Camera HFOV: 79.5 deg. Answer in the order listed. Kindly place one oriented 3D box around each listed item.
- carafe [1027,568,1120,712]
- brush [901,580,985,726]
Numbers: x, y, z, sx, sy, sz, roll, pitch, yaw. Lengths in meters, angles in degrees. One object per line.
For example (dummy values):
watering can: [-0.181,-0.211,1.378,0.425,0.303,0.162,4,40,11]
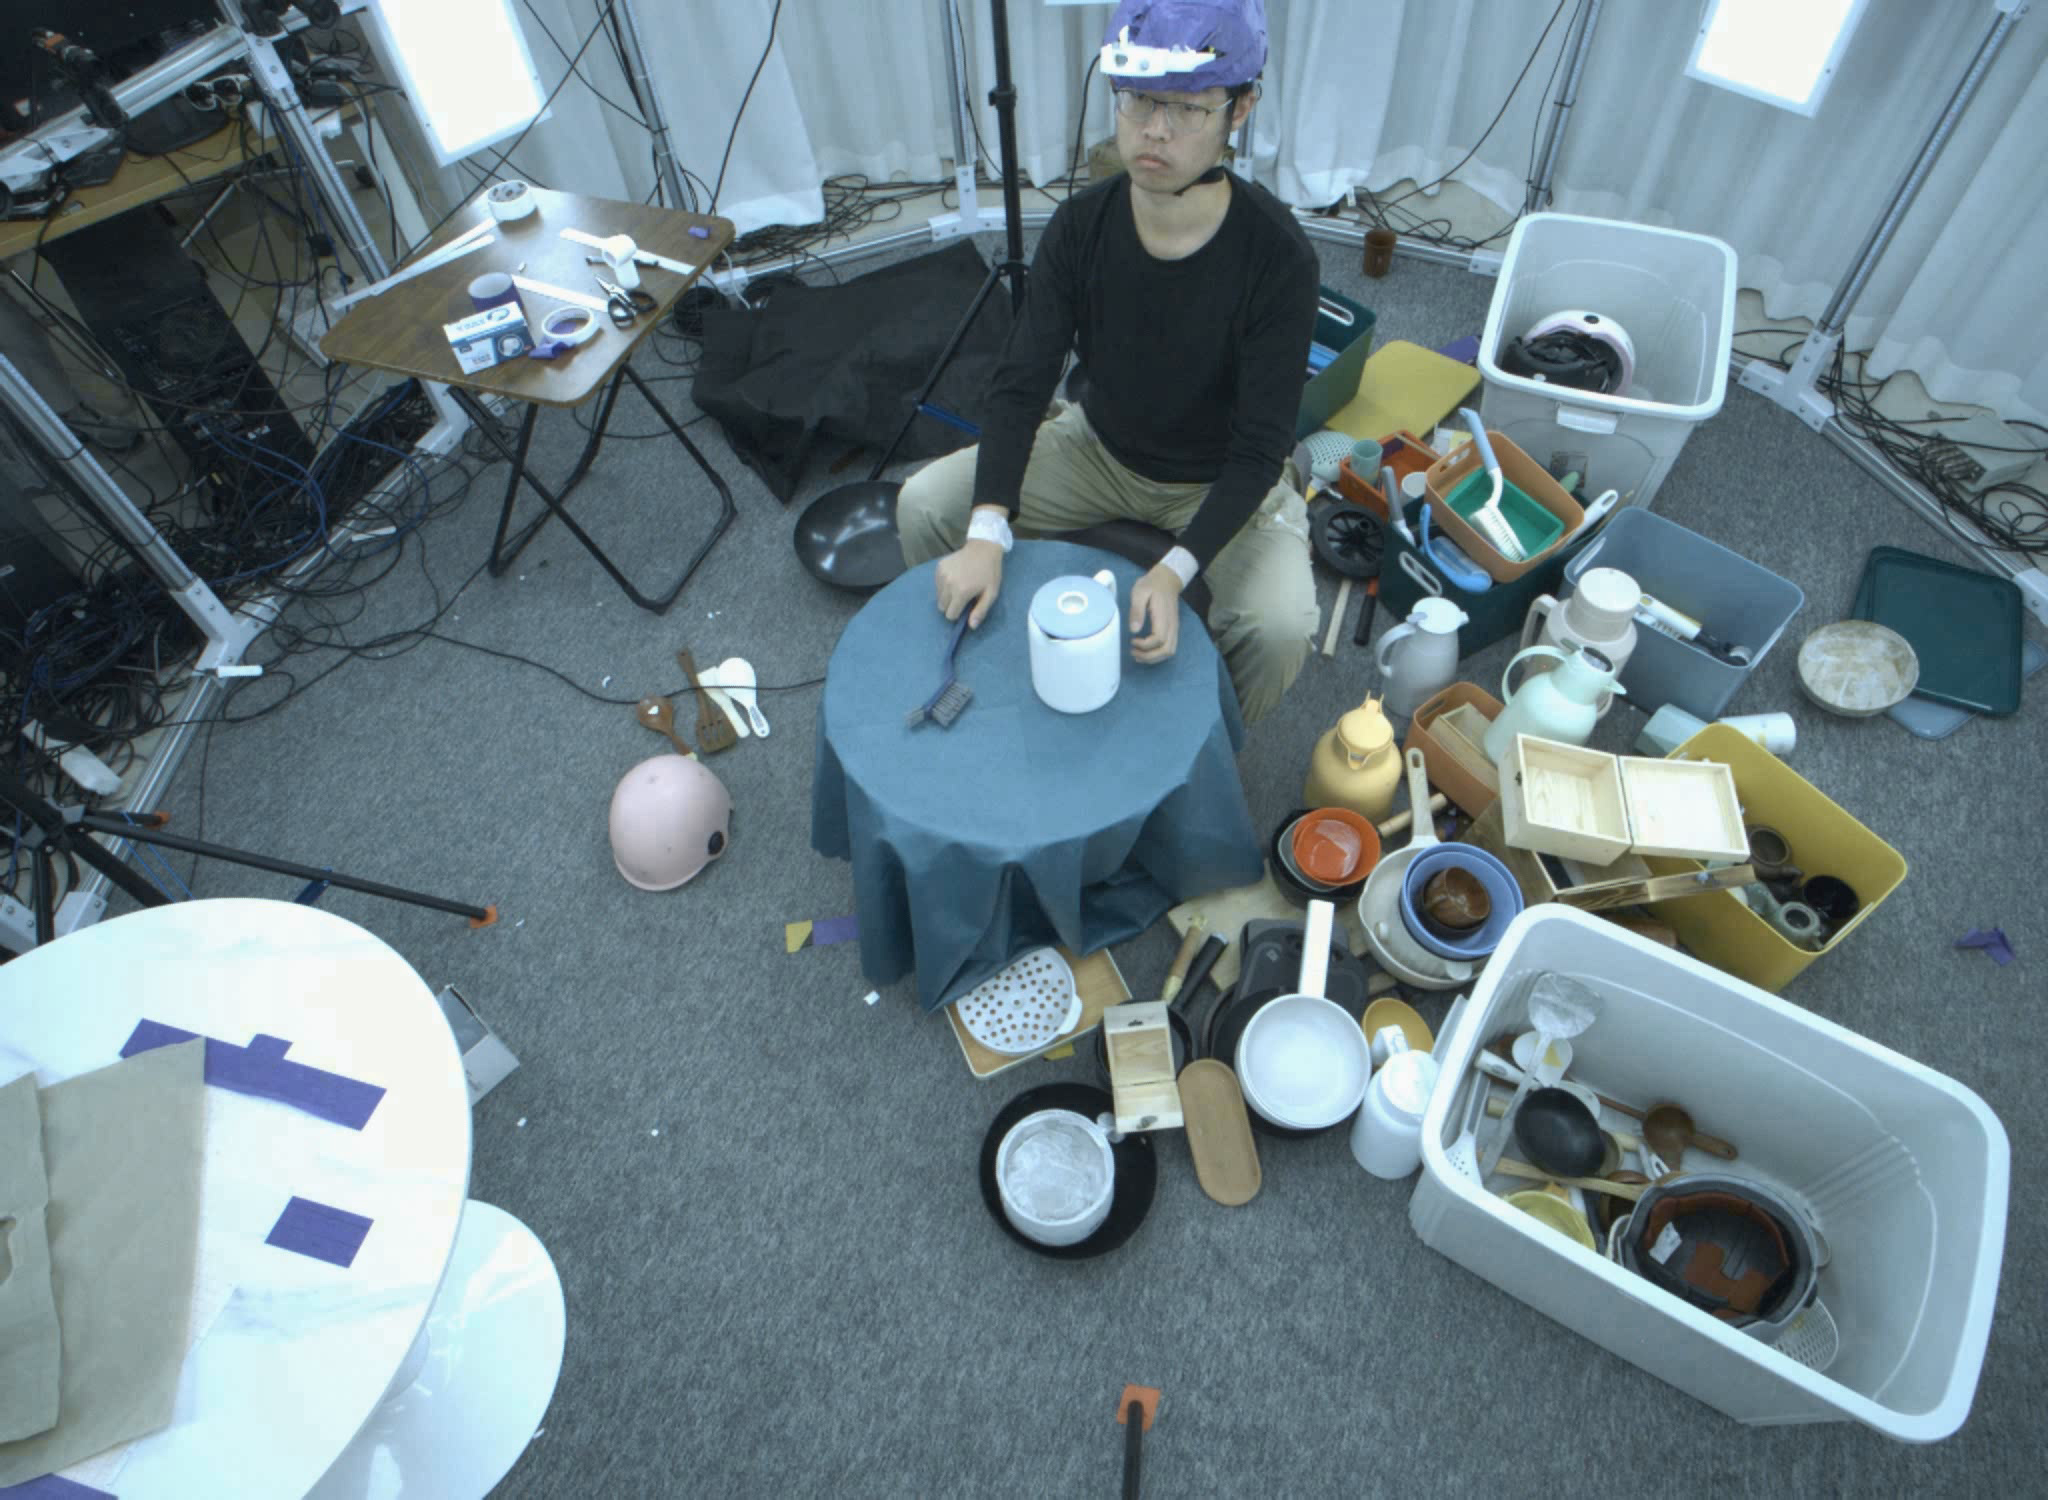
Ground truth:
carafe: [0.084,-0.171,1.800,0.130,0.184,0.191,22,57,17]
brush: [-0.117,-0.151,1.880,0.095,0.034,0.271,5,56,8]
